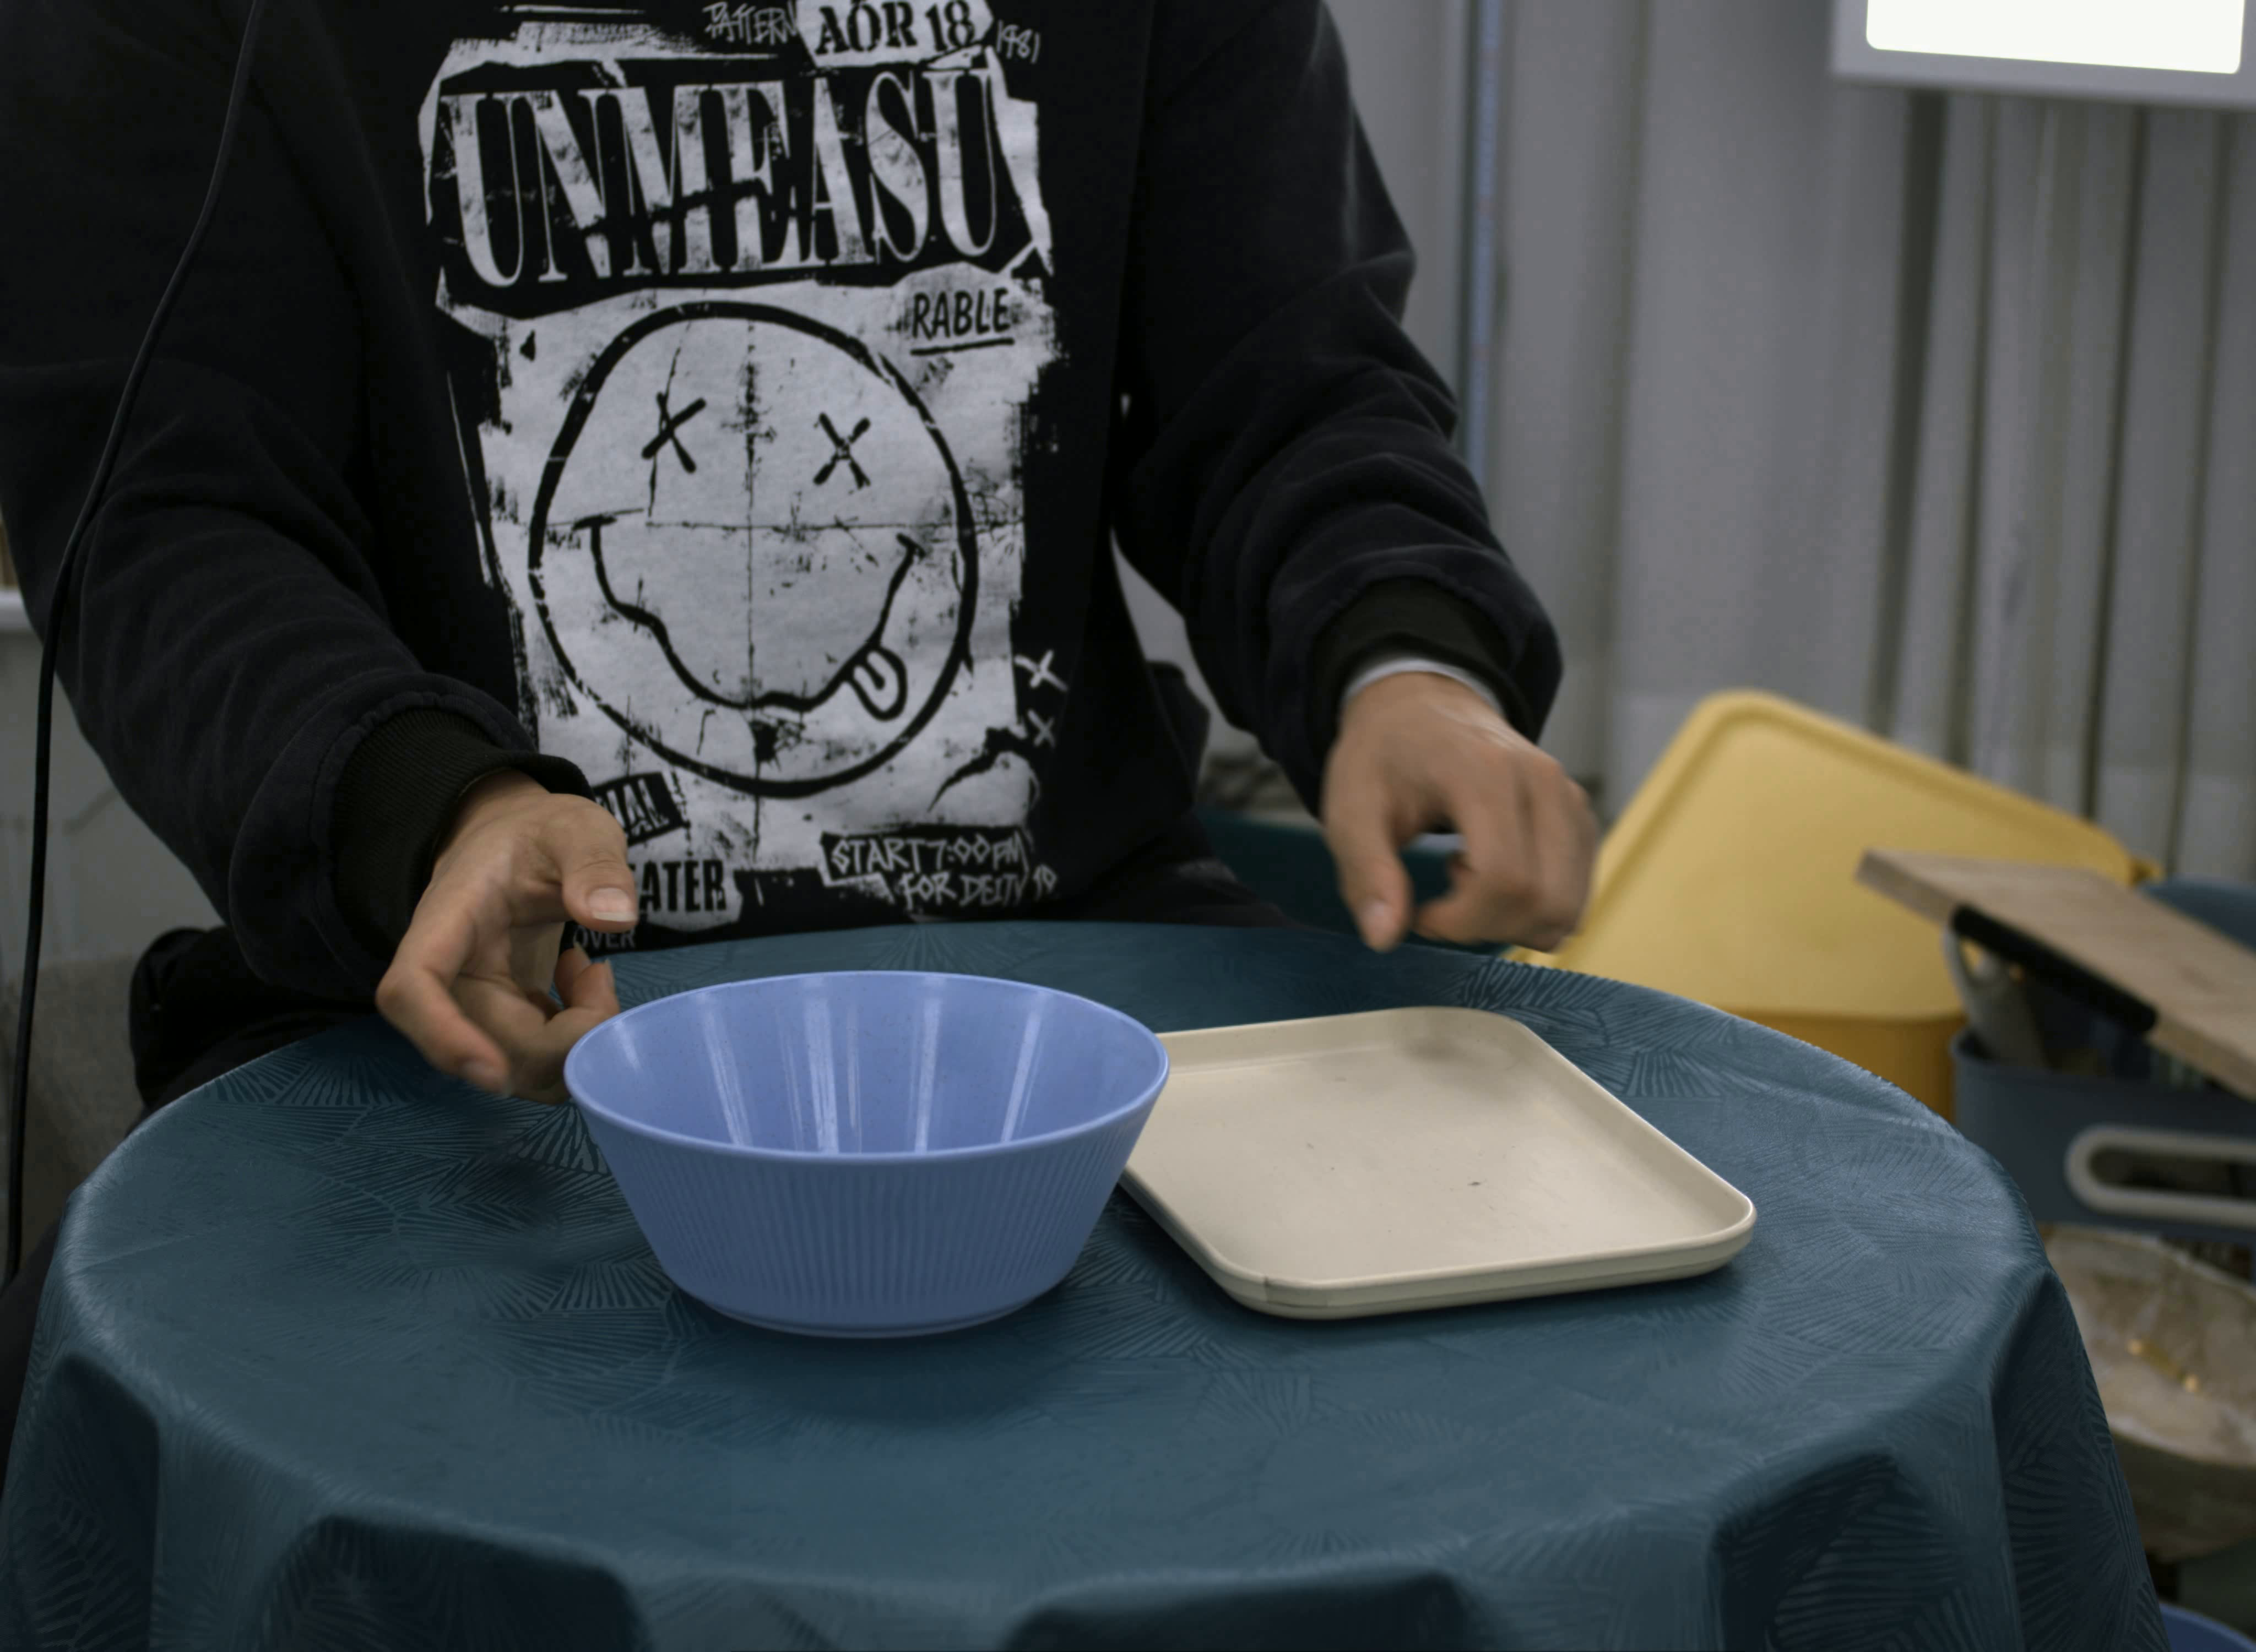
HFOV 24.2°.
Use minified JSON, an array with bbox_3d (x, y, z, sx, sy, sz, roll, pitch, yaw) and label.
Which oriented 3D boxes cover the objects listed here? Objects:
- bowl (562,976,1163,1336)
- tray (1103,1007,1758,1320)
[{"bbox_3d":[-0.078,0.099,1.542,0.175,0.071,0.175,2,16,0],"label":"bowl"},{"bbox_3d":[0.078,0.103,1.631,0.171,0.017,0.237,-4,17,-18],"label":"tray"}]
